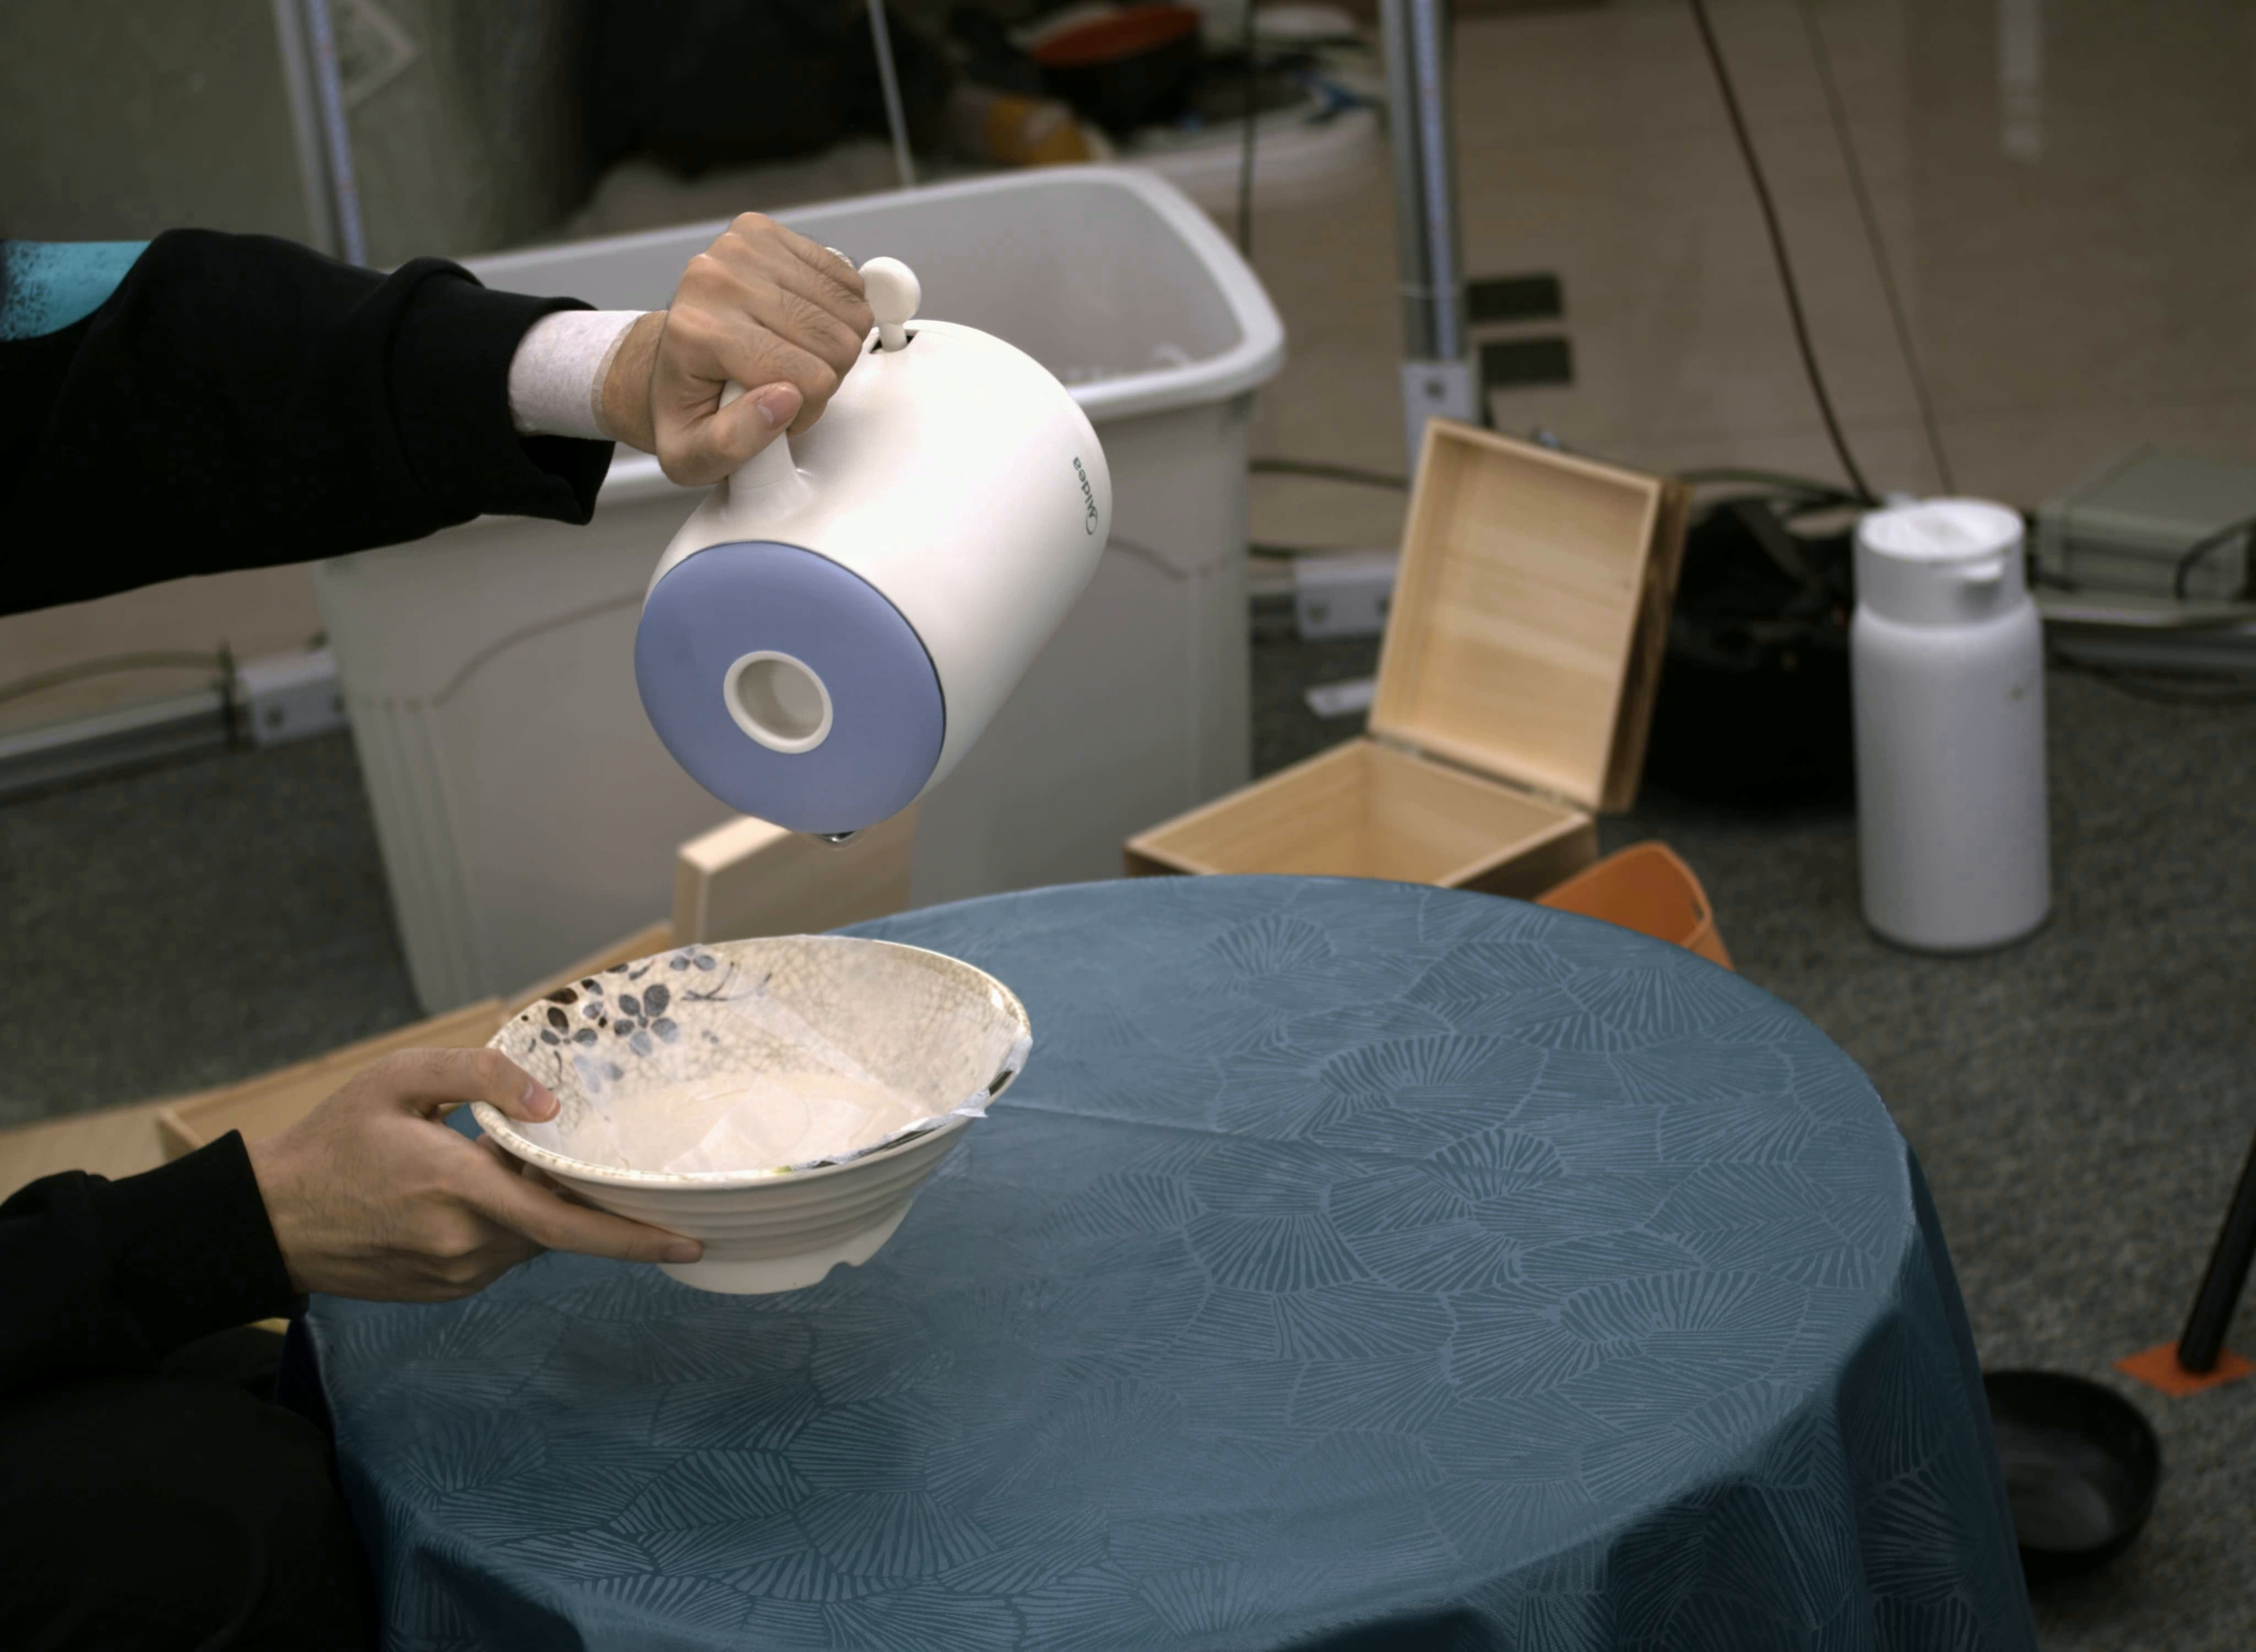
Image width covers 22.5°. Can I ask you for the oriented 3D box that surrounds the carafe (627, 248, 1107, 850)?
[{"bbox_3d":[-0.101,-0.112,2.047,0.132,0.194,0.180,-3,28,24],"label":"carafe"}]

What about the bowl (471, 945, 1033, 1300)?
[{"bbox_3d":[-0.130,0.117,2.042,0.204,0.079,0.201,-7,22,3],"label":"bowl"}]
